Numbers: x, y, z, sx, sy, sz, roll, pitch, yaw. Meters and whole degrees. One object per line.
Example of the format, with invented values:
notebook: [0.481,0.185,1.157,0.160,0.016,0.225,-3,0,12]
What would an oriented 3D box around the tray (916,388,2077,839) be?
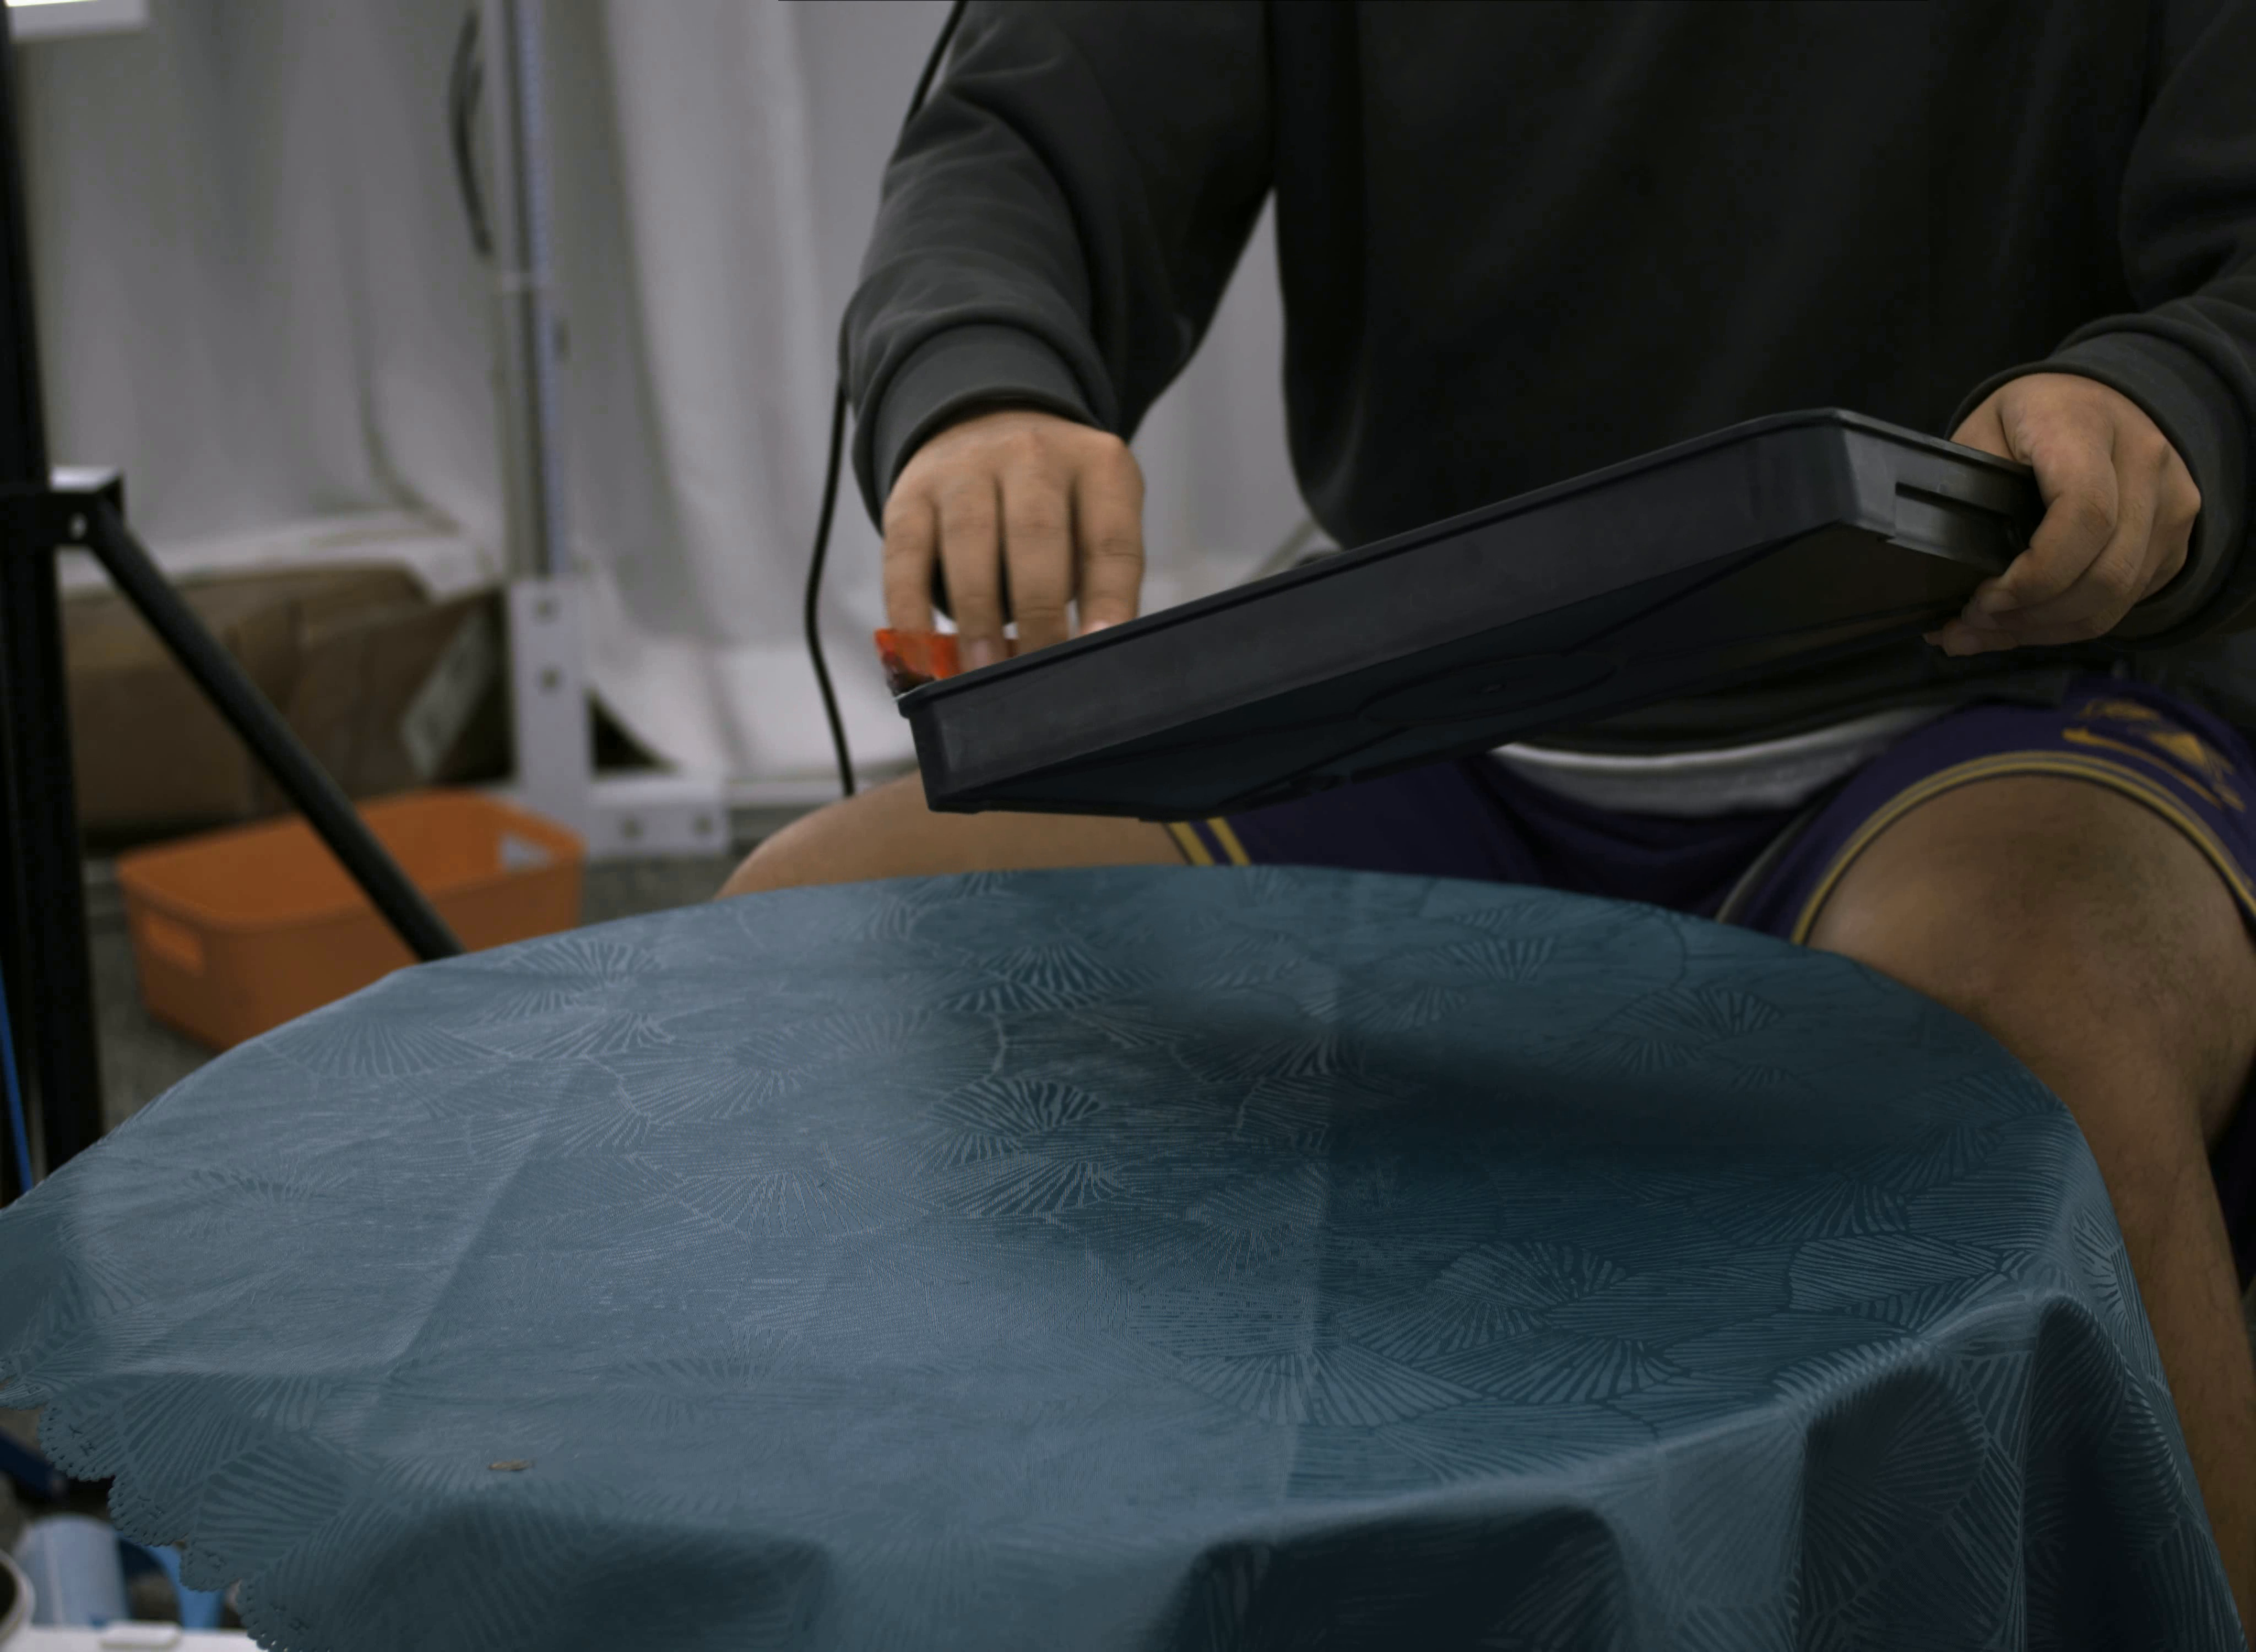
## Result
tray: [0.110,-0.056,1.577,0.322,0.037,0.180,-17,-13,30]

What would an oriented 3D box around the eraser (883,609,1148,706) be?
eraser: [-0.019,-0.049,1.662,0.109,0.023,0.058,5,-8,18]
